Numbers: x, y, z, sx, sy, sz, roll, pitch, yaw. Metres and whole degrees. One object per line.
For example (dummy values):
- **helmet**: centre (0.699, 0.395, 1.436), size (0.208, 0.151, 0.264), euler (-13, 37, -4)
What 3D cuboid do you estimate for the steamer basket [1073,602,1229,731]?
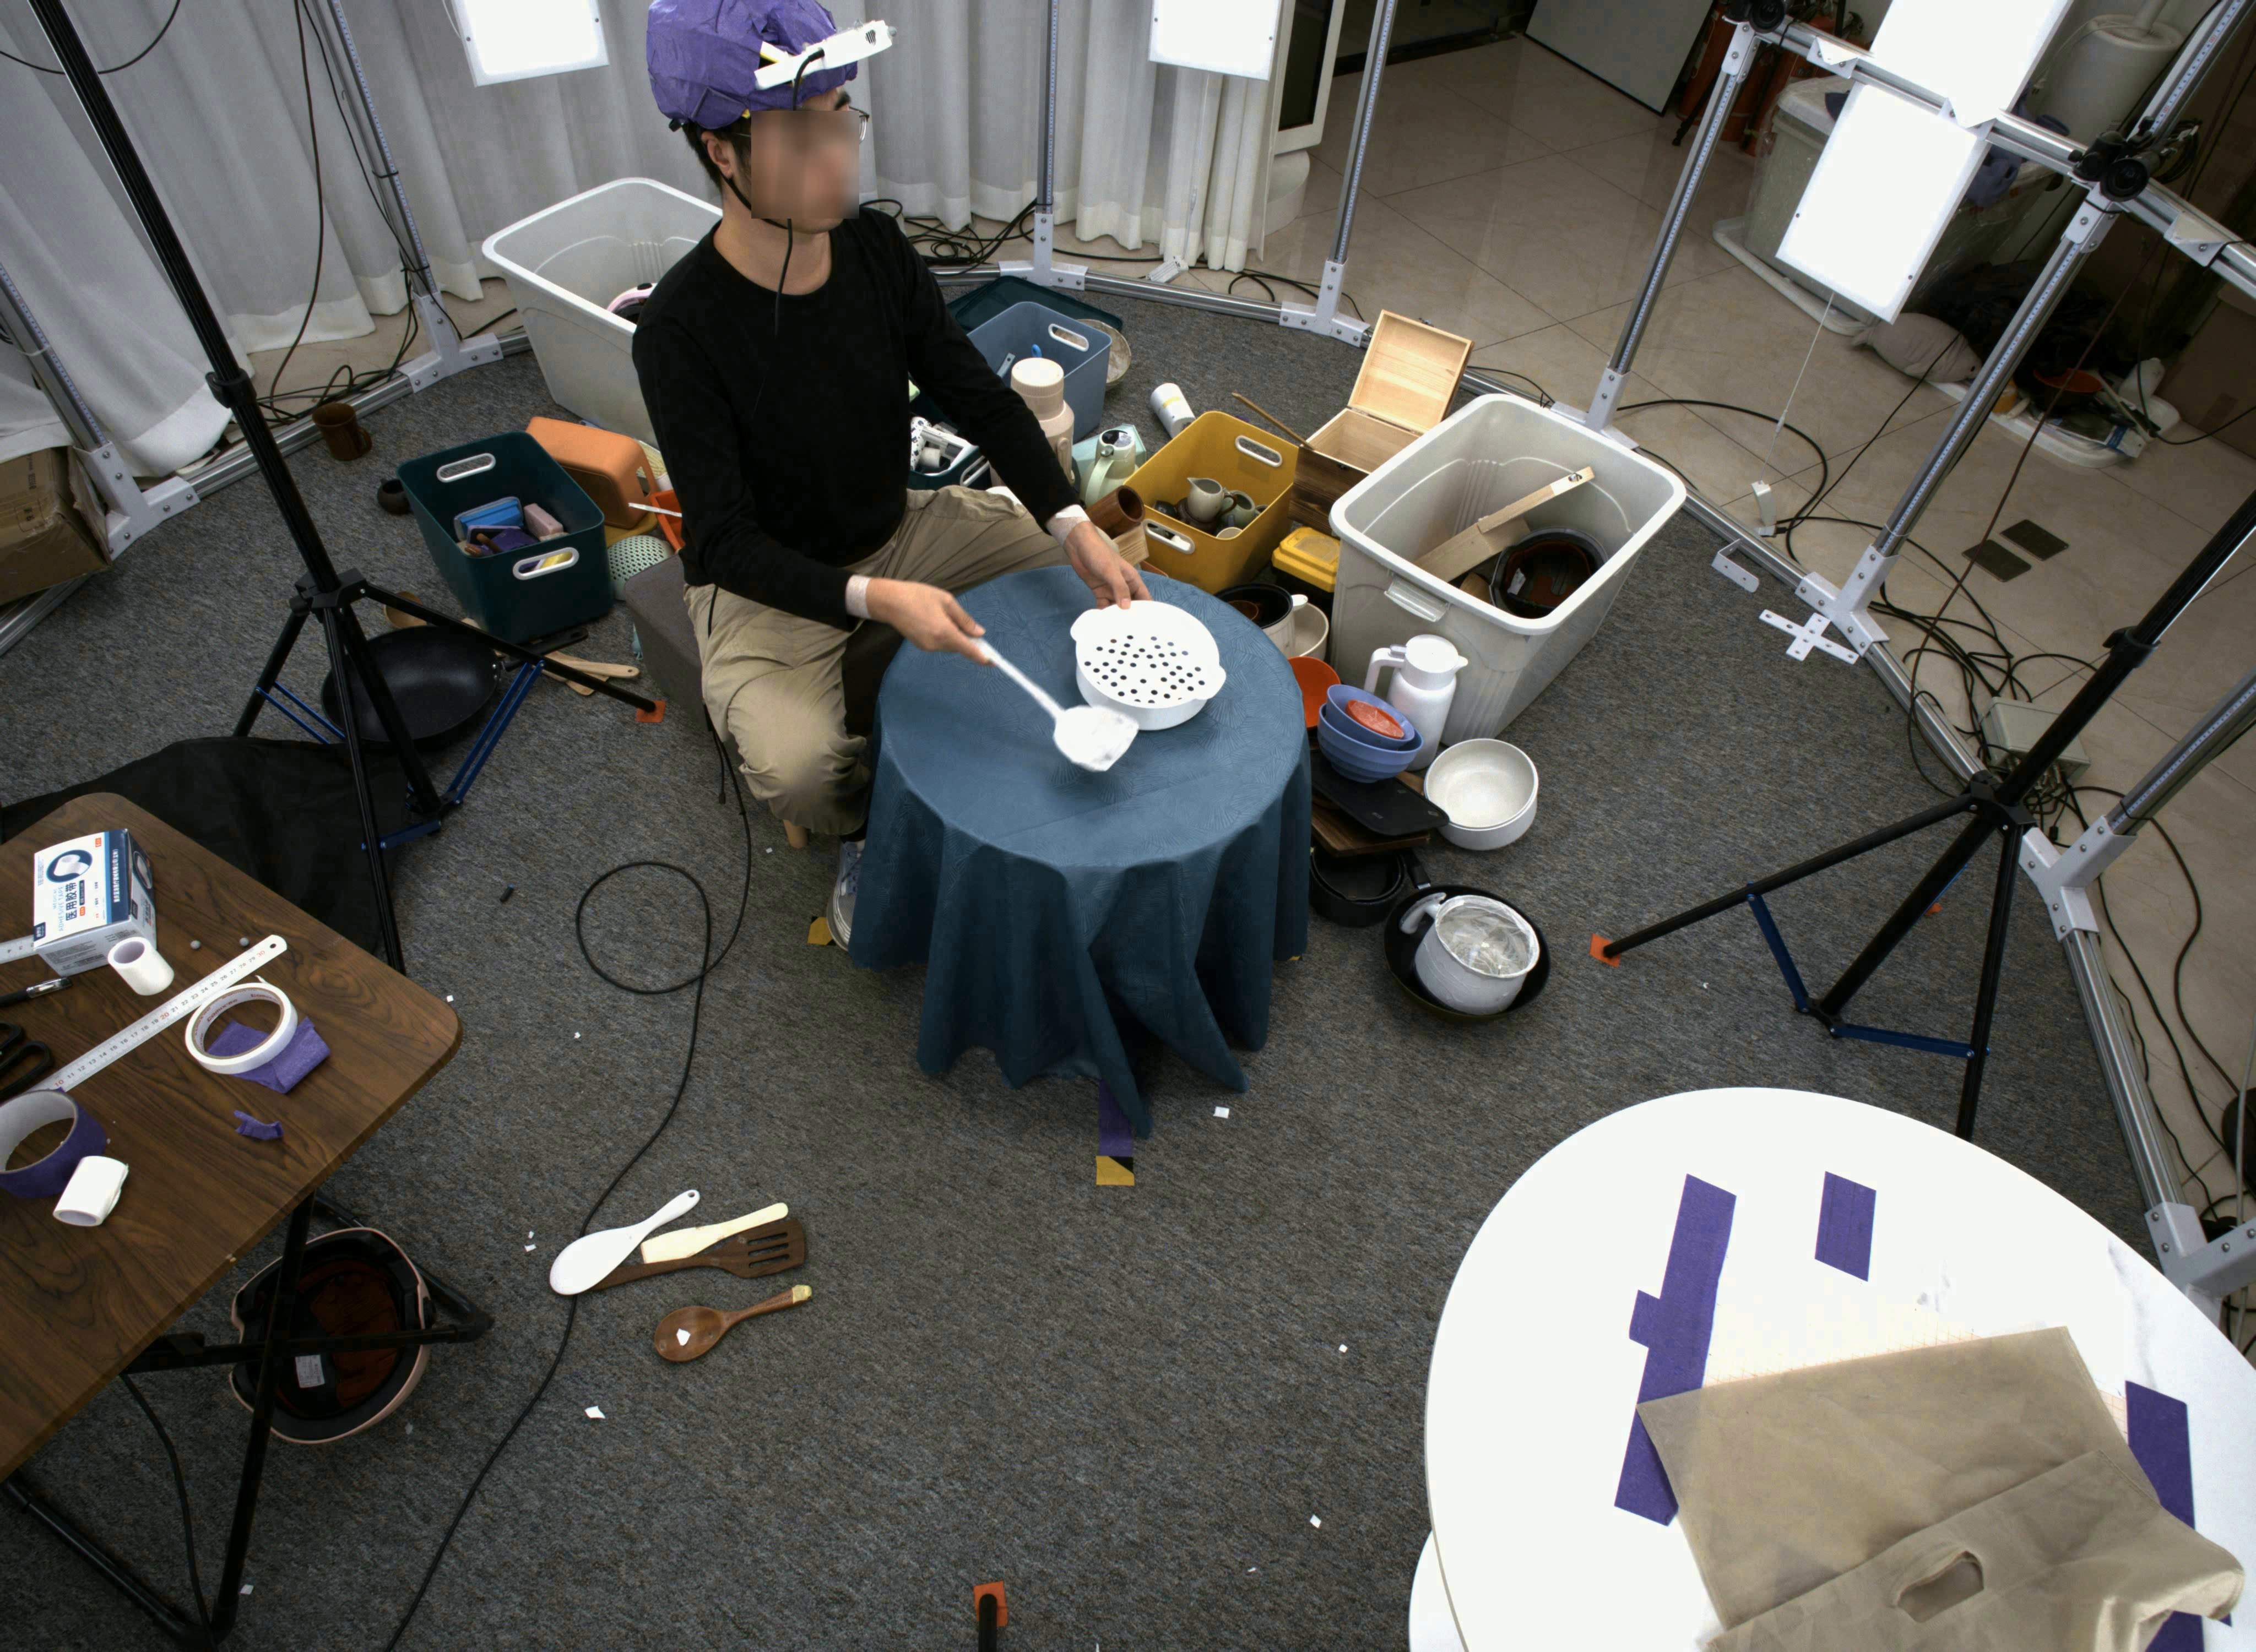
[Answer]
- **steamer basket**: centre (0.029, -0.225, 1.816), size (0.232, 0.067, 0.205), euler (27, 54, 14)

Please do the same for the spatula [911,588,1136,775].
- **spatula**: centre (-0.151, -0.201, 1.699), size (0.365, 0.044, 0.100), euler (40, 66, 2)
